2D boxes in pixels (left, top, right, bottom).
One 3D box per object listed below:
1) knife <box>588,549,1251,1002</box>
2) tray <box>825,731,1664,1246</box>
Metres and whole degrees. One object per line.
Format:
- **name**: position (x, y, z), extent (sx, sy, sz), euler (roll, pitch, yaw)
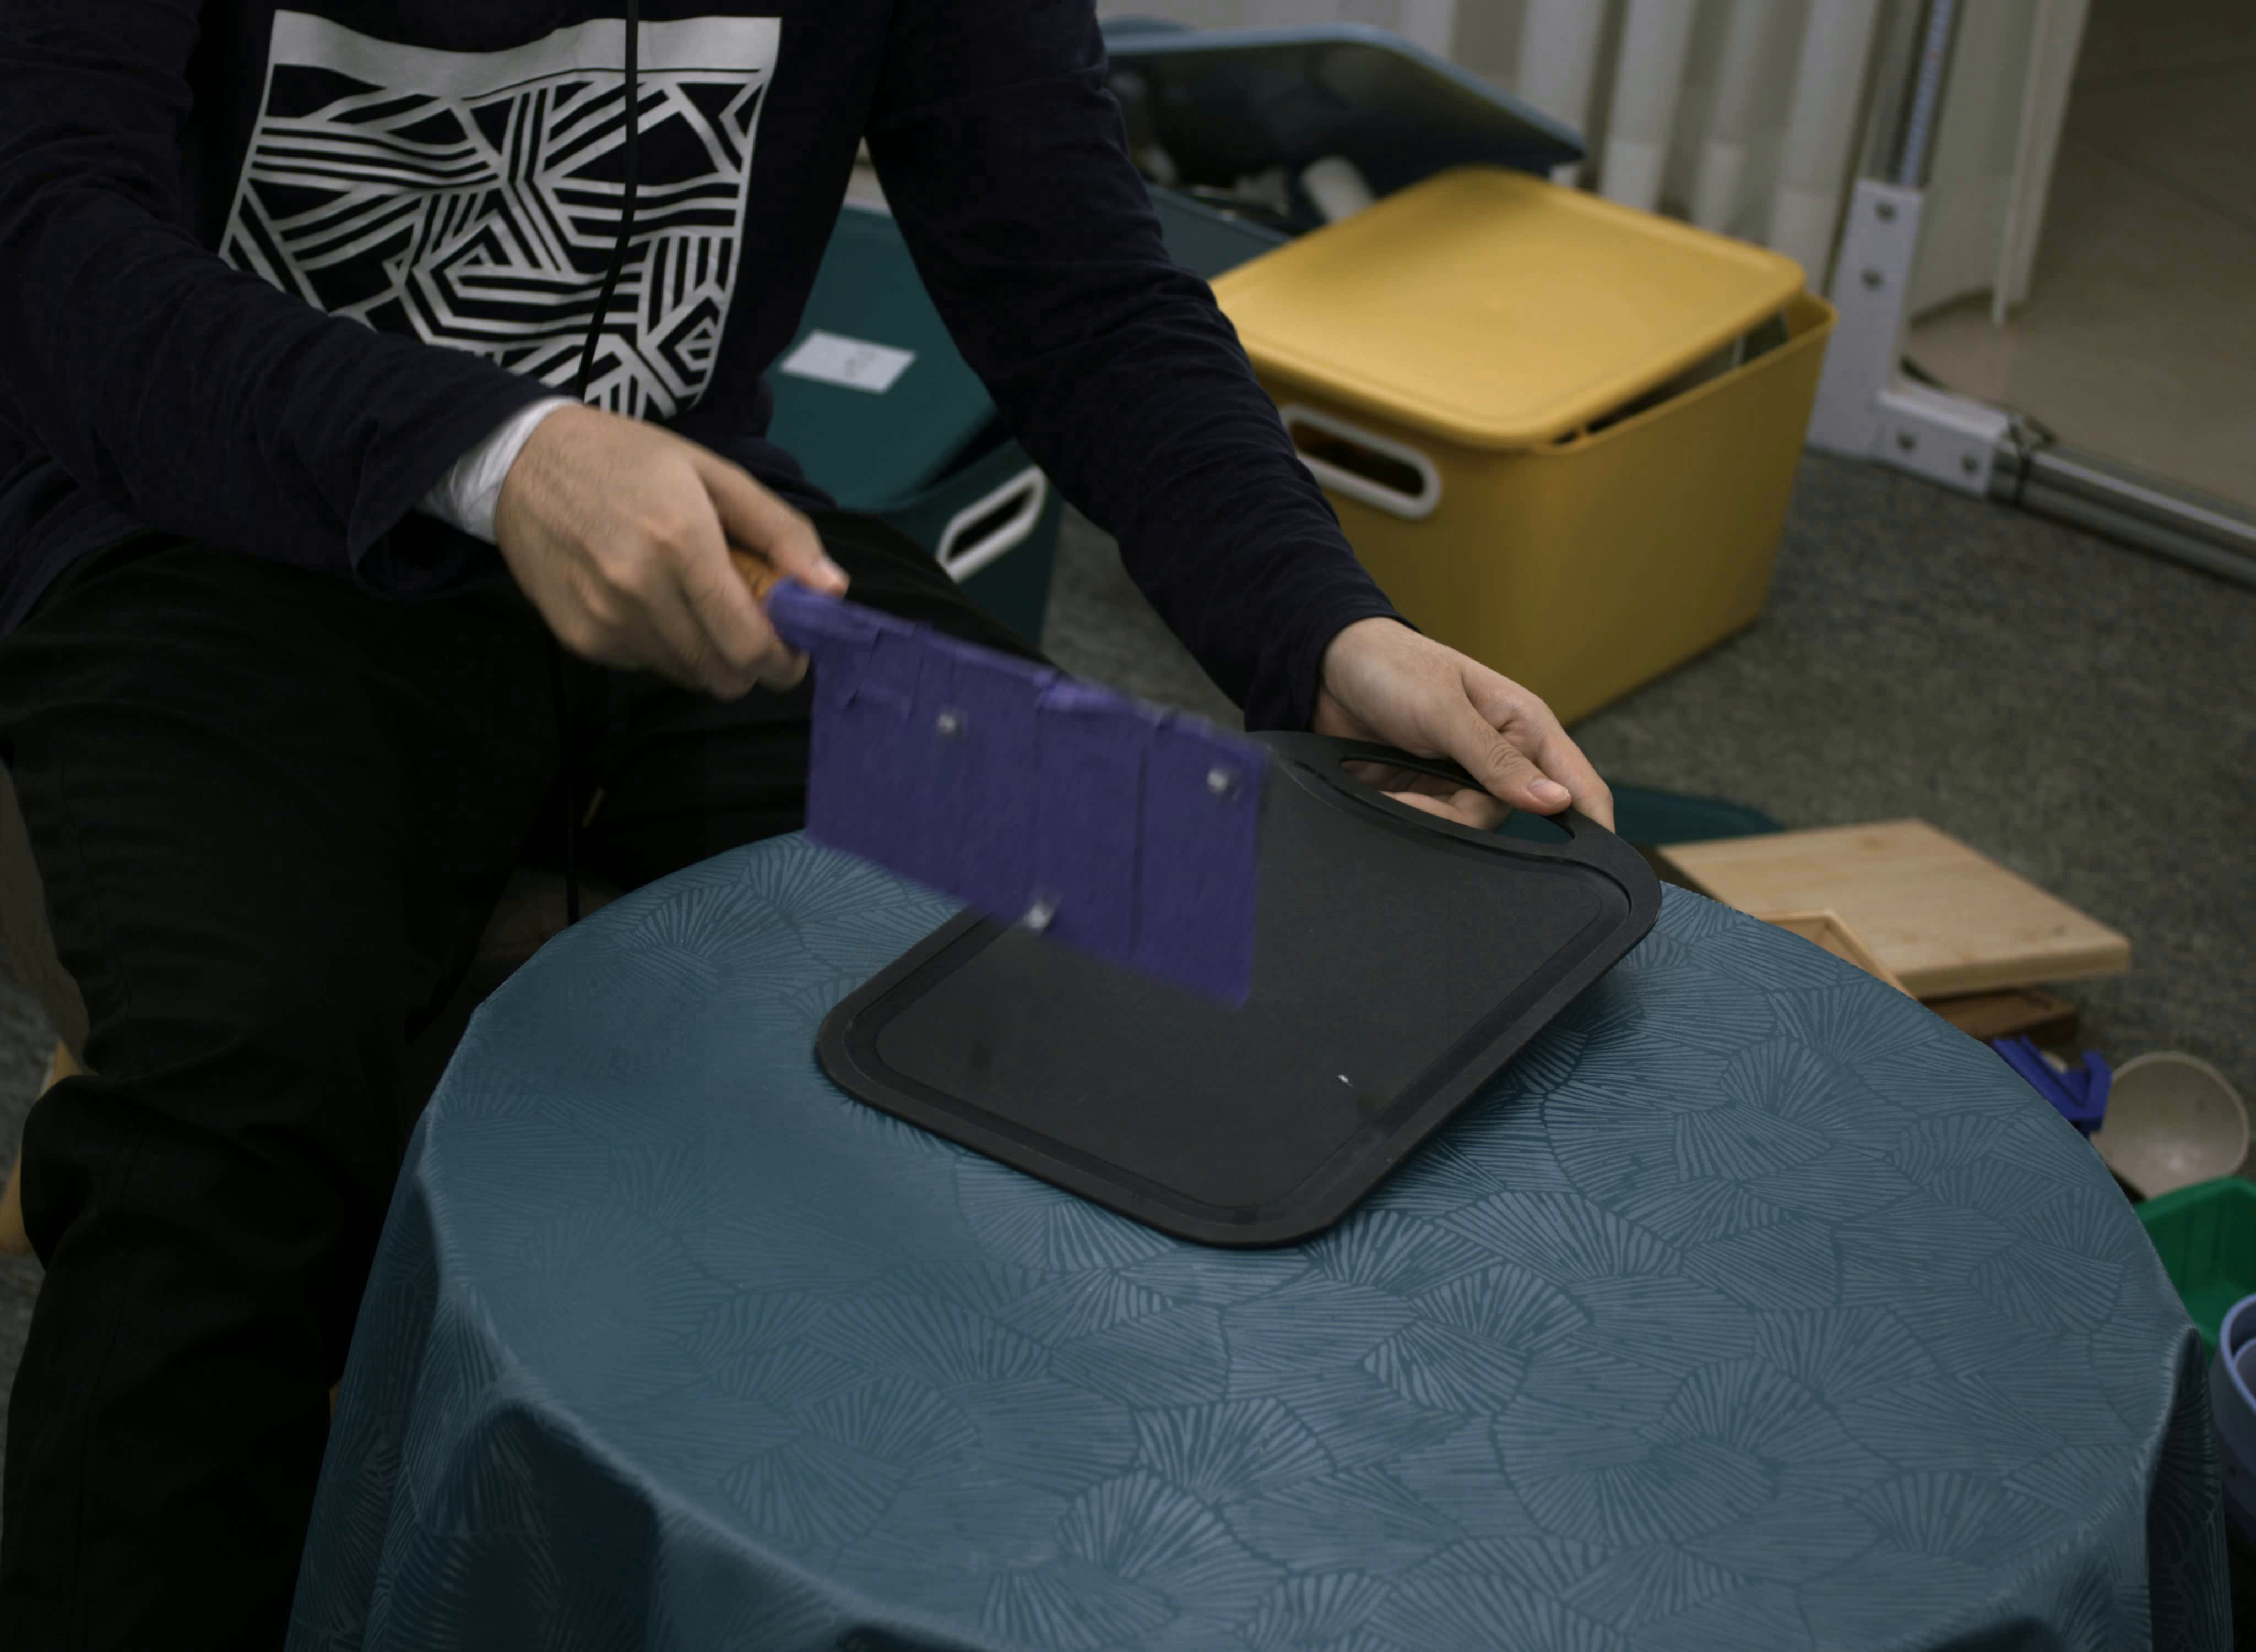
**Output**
- **knife**: position (-0.078, -0.017, 1.802), extent (0.032, 0.104, 0.317), euler (-6, 19, -44)
- **tray**: position (0.050, 0.047, 1.926), extent (0.212, 0.010, 0.325), euler (21, 36, 27)
